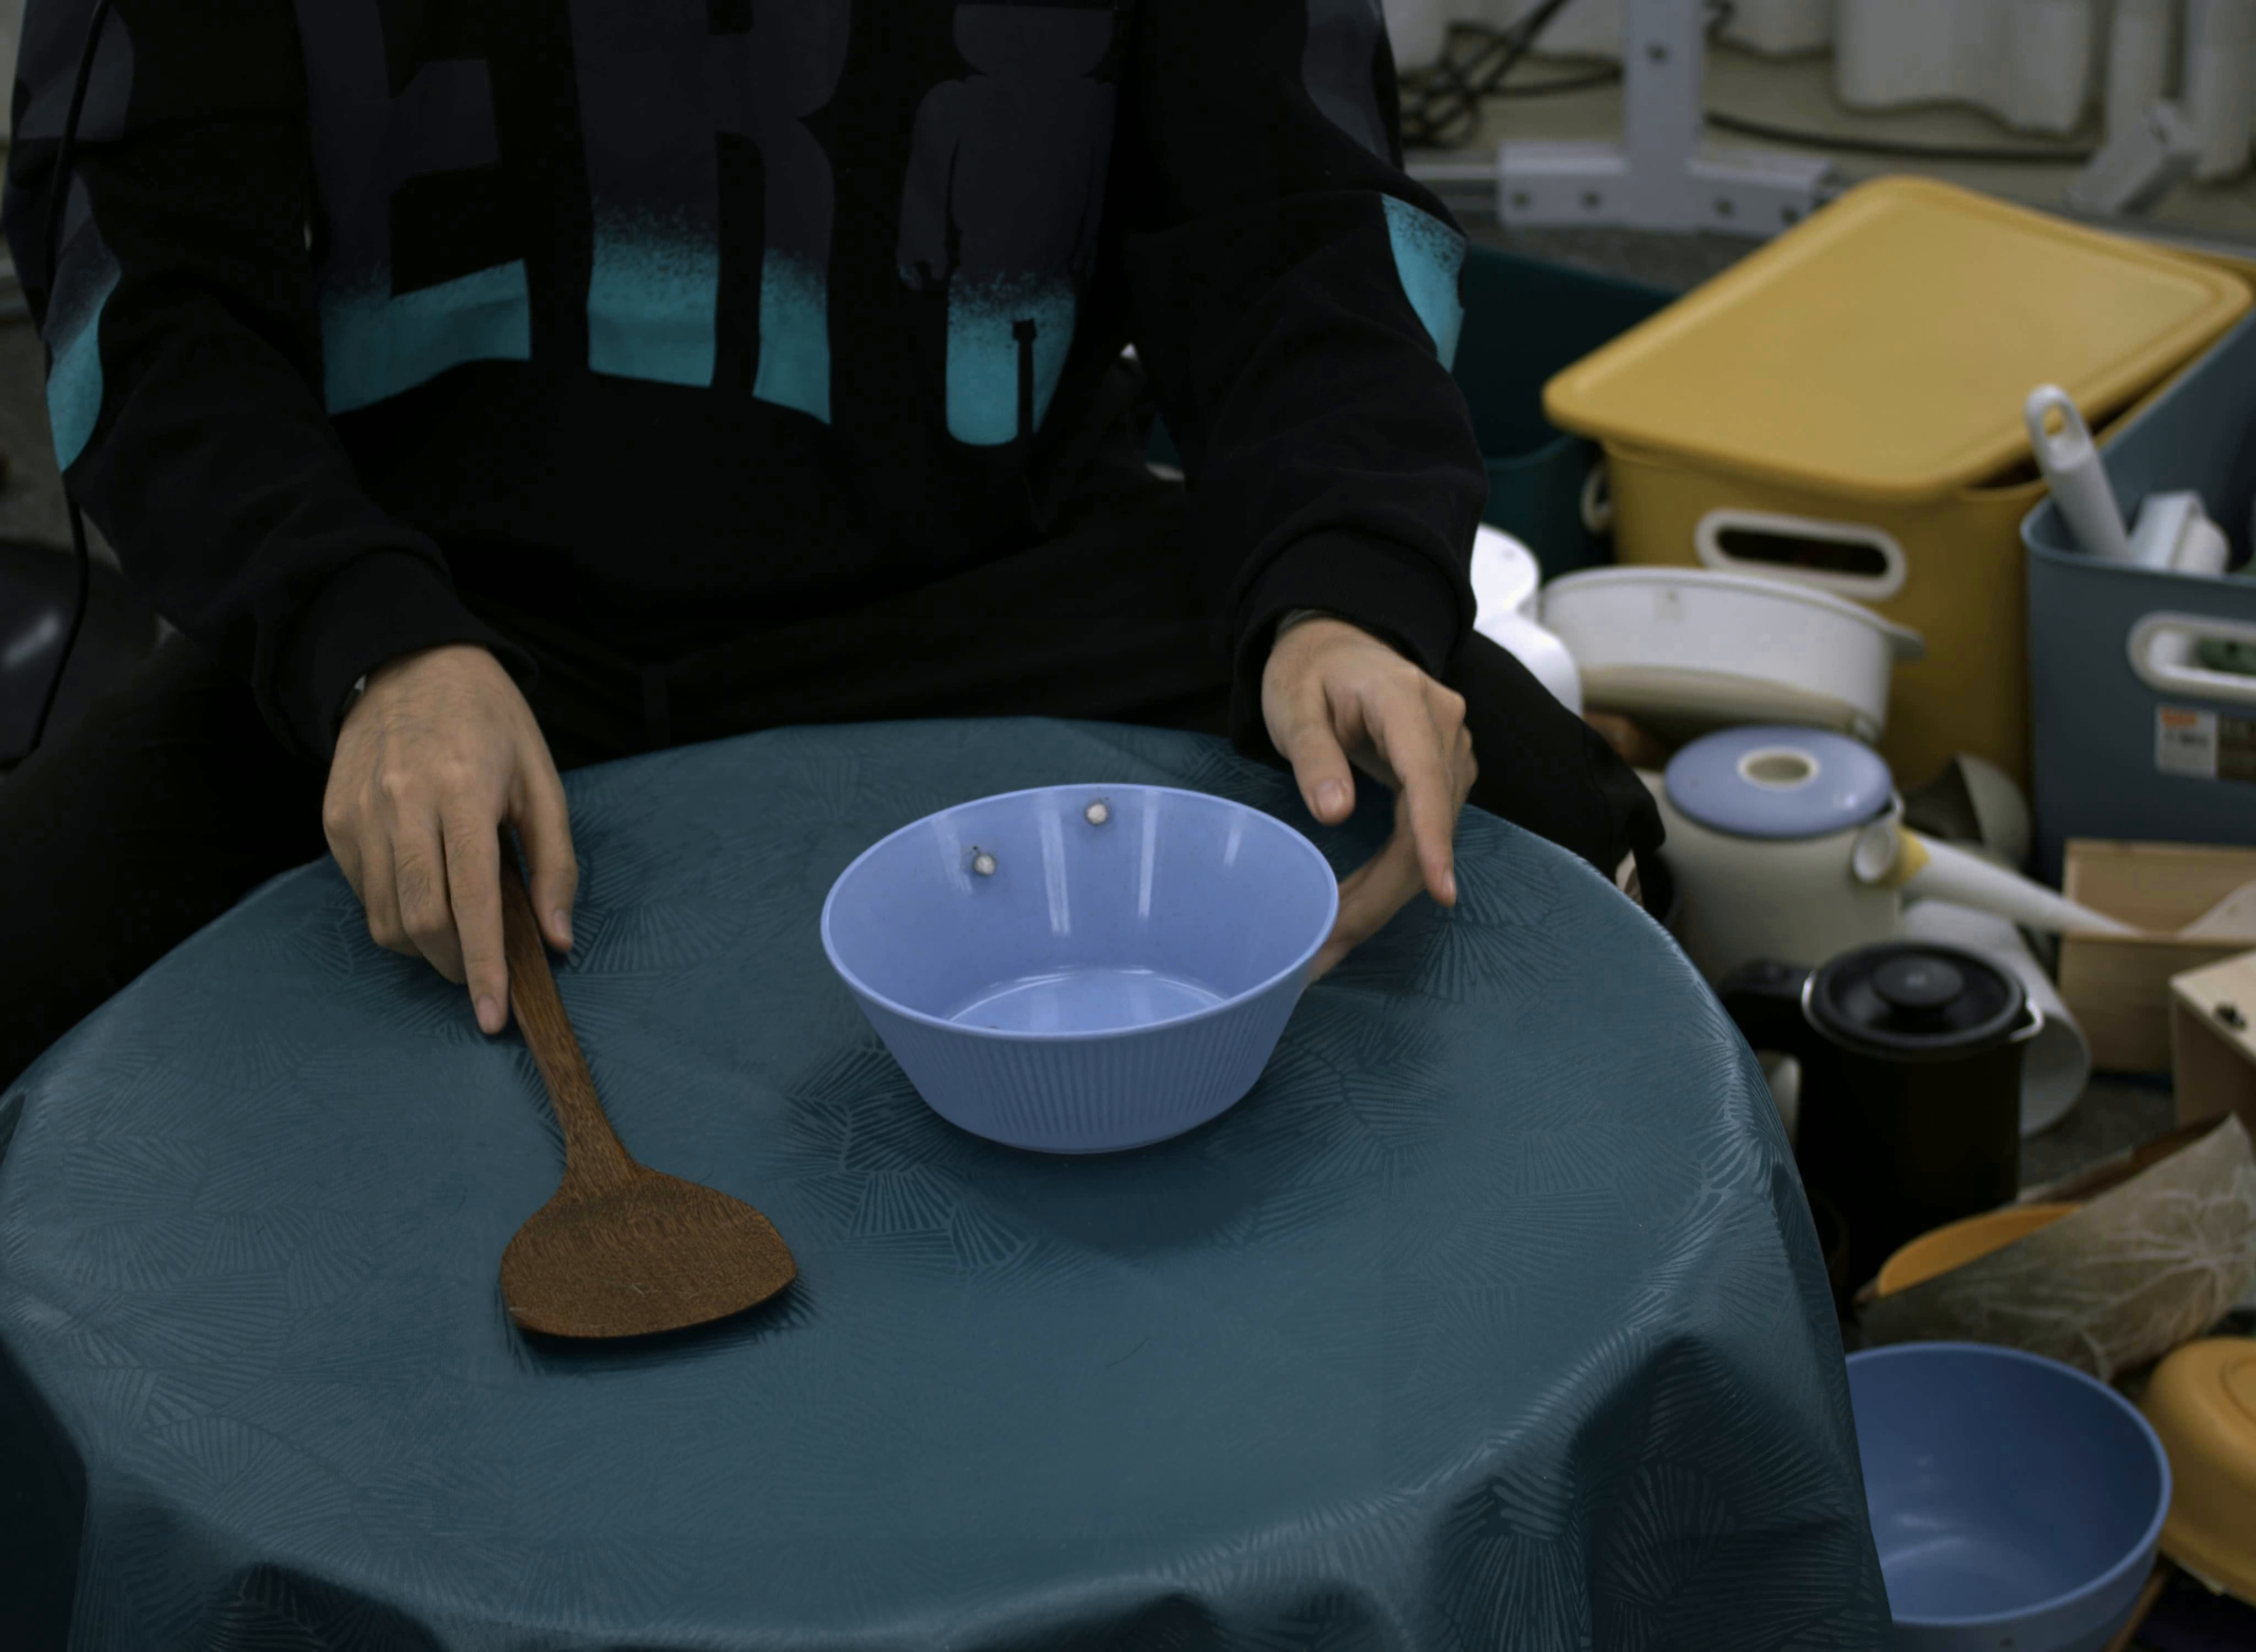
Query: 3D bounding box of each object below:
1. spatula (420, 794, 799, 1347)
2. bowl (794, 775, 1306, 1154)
[{"bbox_3d":[-0.200,0.076,1.947,0.096,0.015,0.390,-10,30,-14],"label":"spatula"},{"bbox_3d":[-0.025,0.054,1.916,0.175,0.069,0.179,-2,30,2],"label":"bowl"}]
